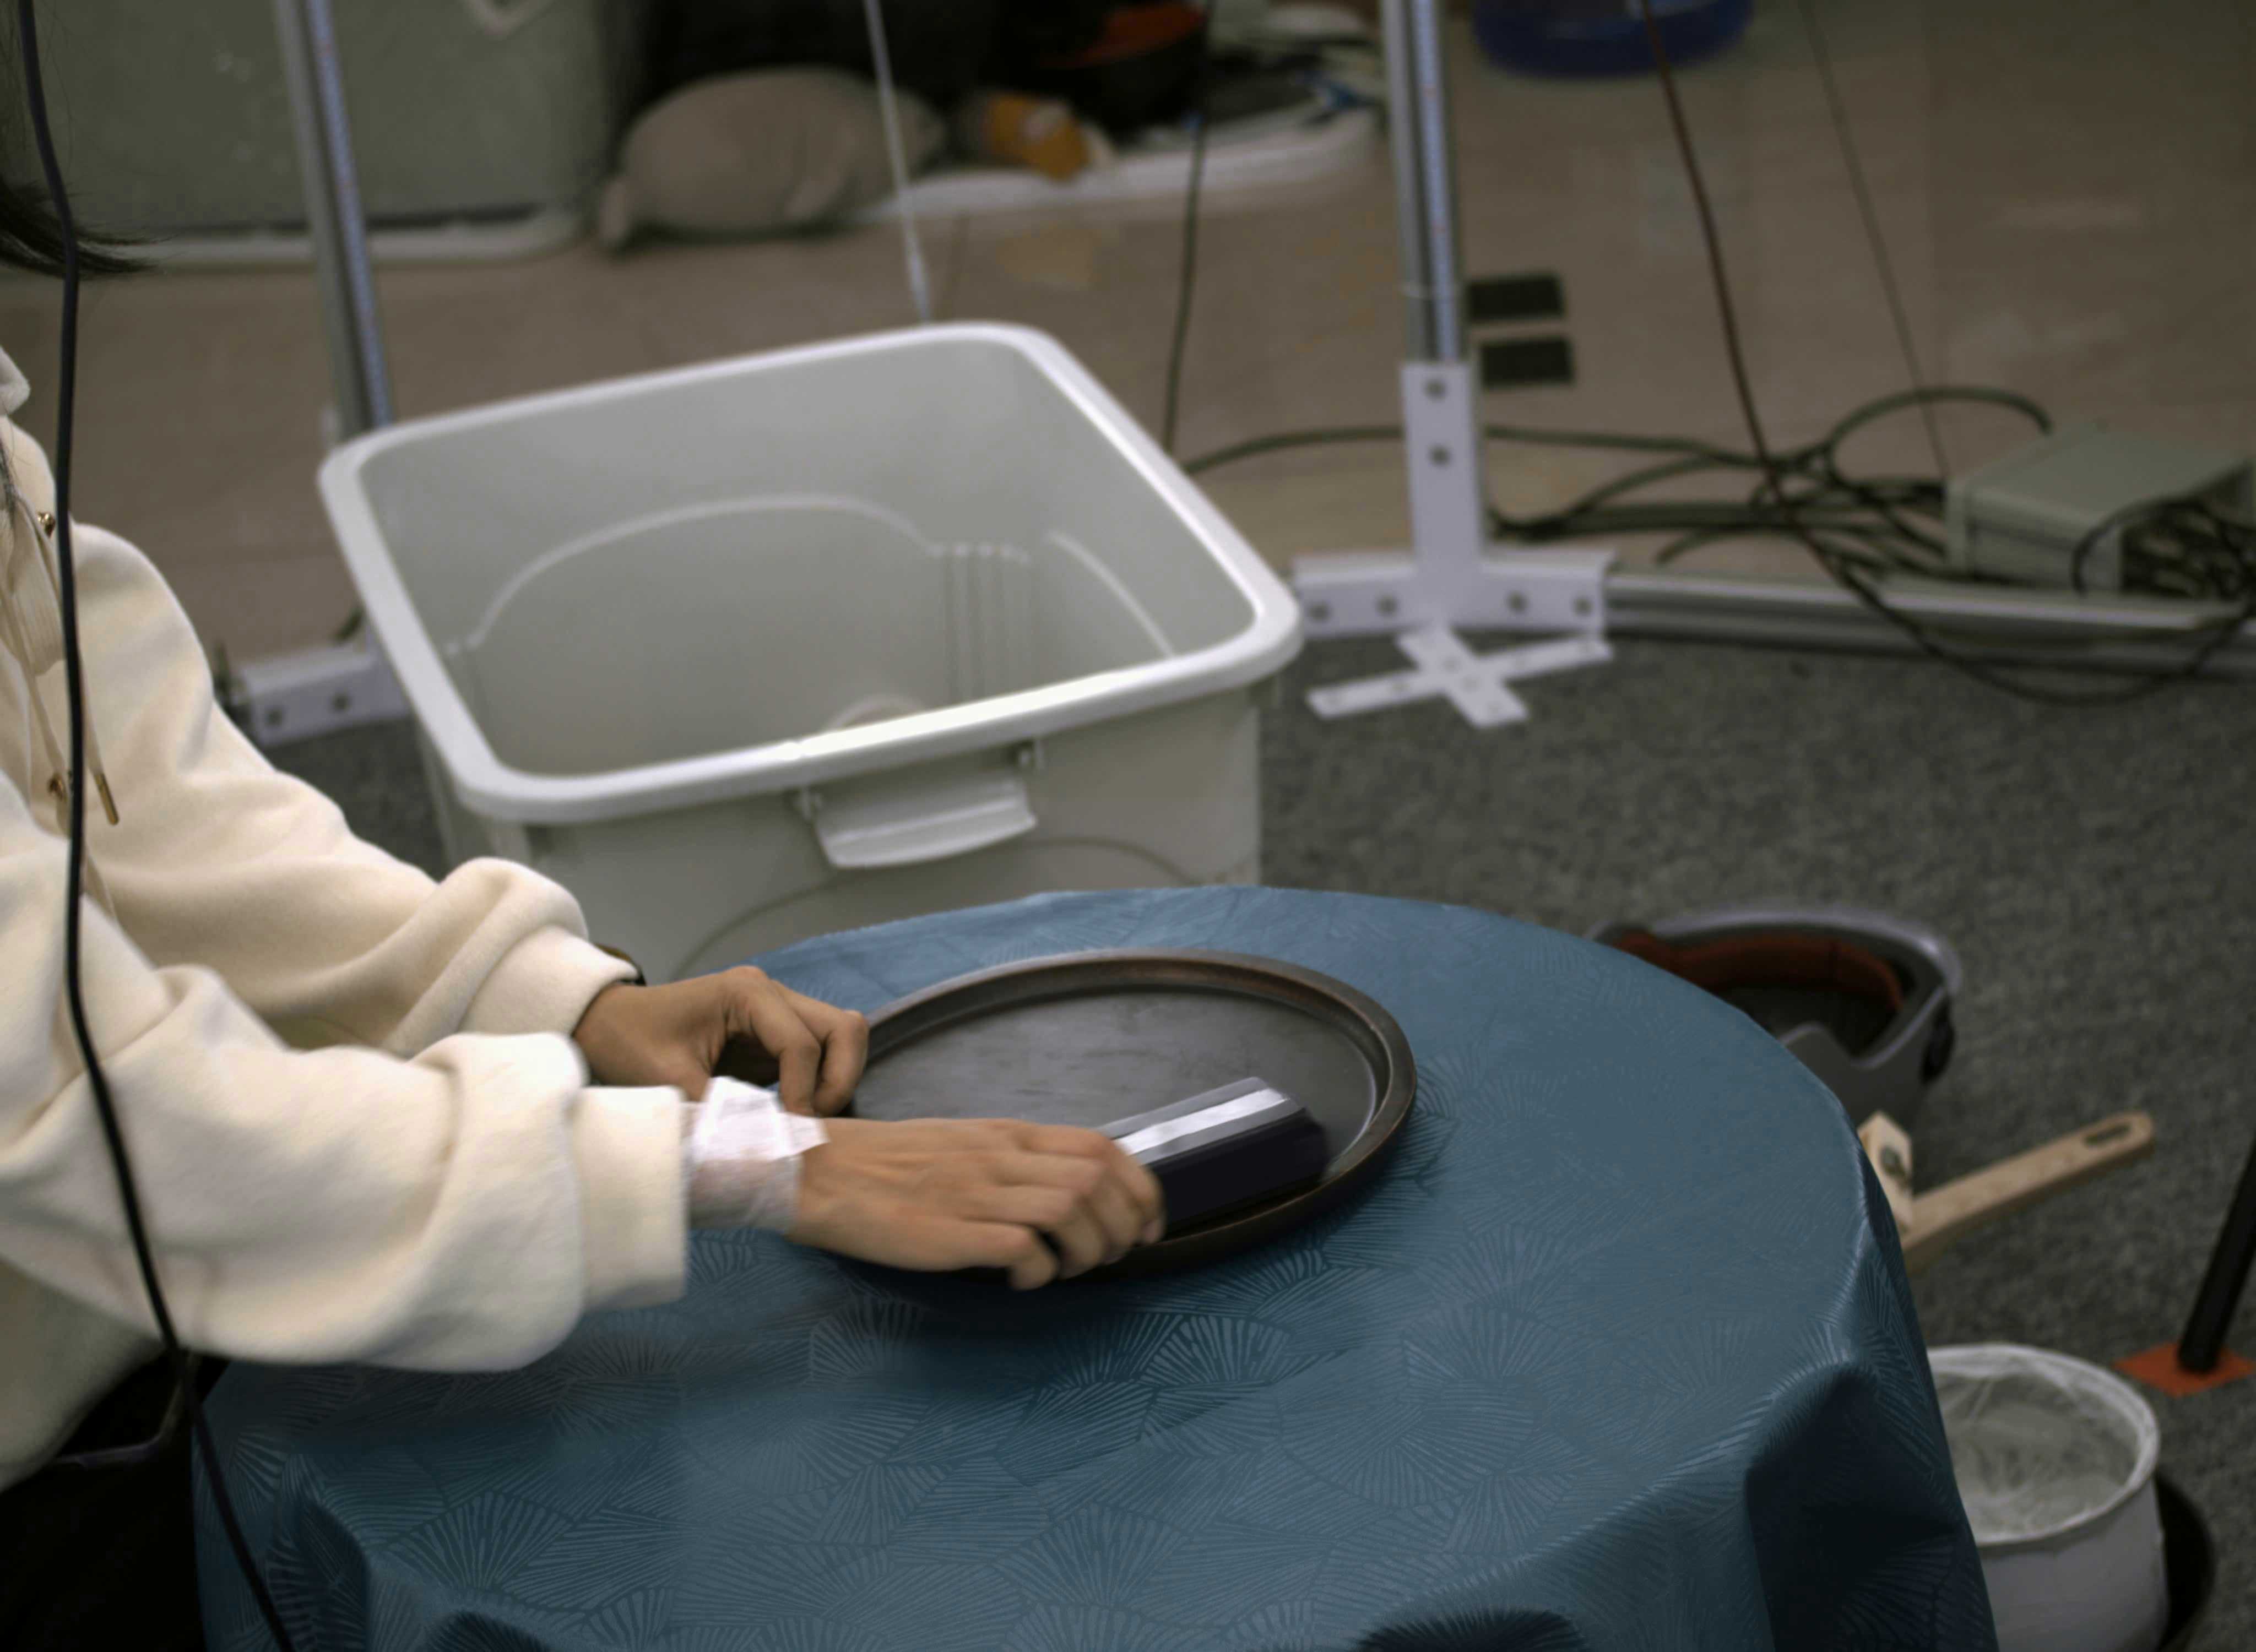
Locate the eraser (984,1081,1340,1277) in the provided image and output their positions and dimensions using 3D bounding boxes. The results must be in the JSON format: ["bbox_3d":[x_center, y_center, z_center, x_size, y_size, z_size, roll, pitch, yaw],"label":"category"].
[{"bbox_3d":[0.013,0.129,2.088,0.125,0.031,0.053,-19,19,-23],"label":"eraser"}]

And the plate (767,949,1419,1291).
[{"bbox_3d":[-0.013,0.111,2.182,0.254,0.029,0.251,-4,25,2],"label":"plate"}]
